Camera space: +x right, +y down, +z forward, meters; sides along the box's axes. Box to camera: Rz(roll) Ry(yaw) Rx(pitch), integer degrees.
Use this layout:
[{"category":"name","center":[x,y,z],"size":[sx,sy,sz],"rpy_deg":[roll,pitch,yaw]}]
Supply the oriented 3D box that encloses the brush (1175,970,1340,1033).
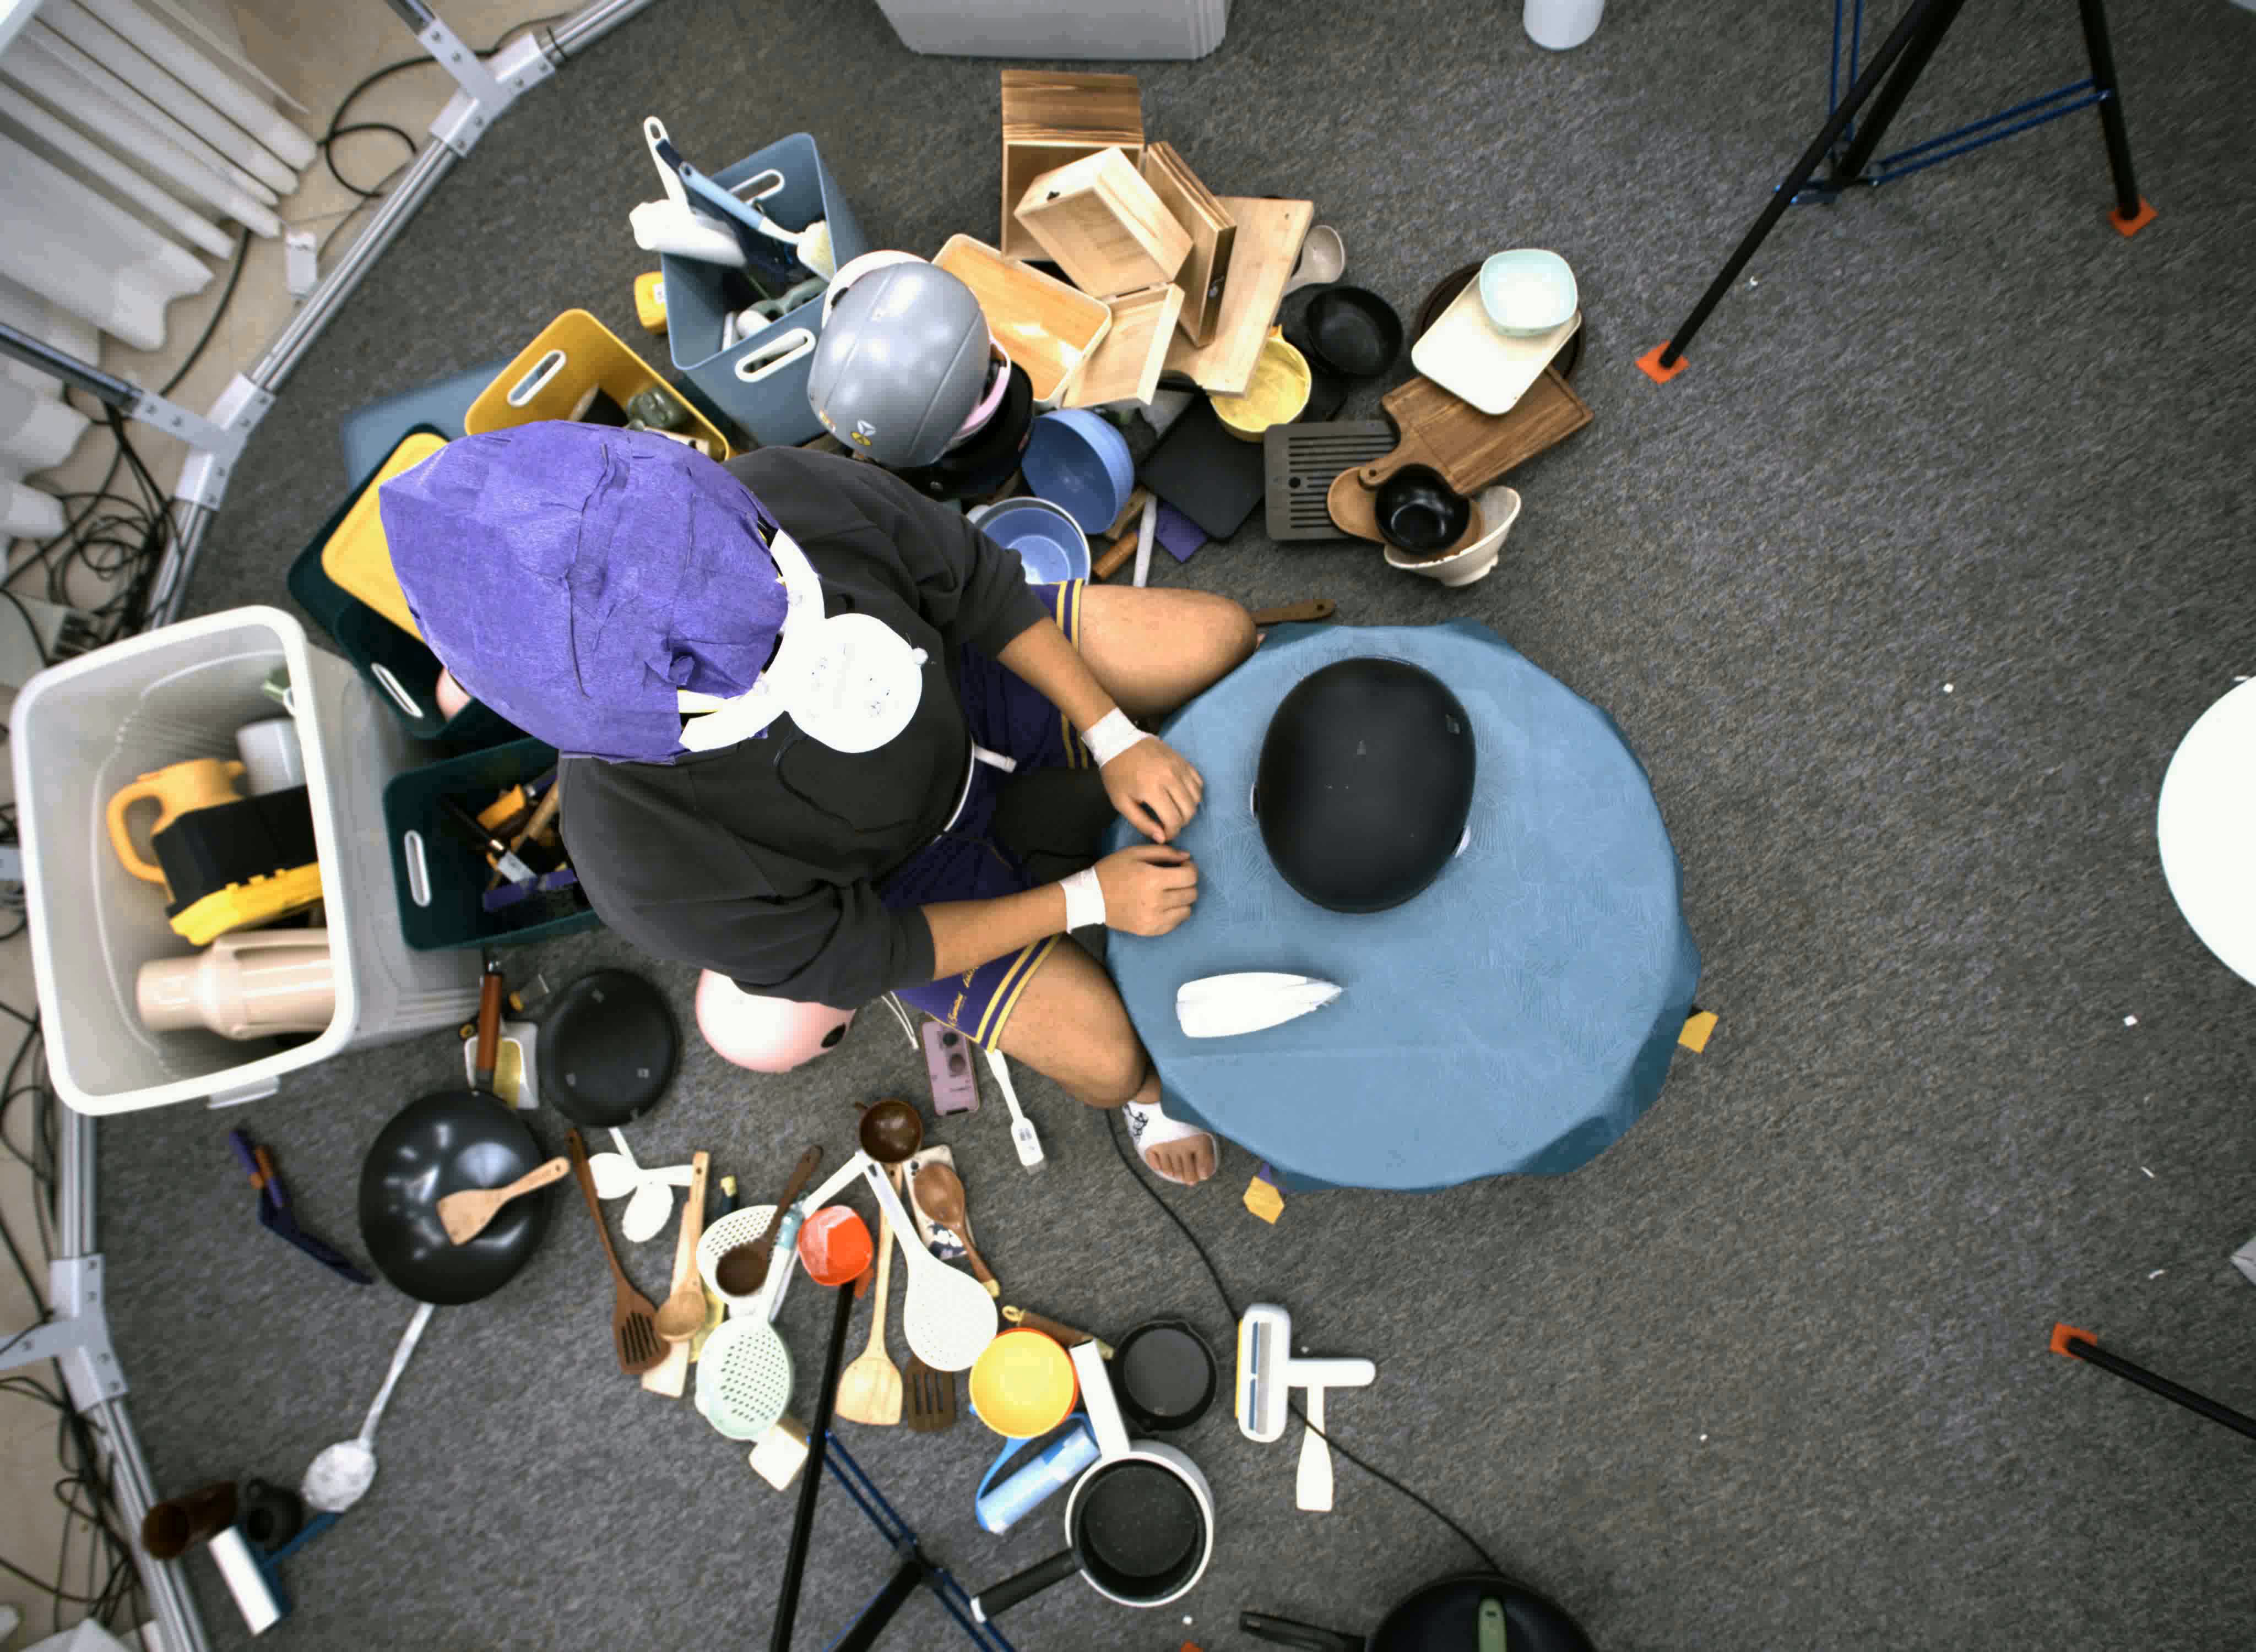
[{"category":"brush","center":[0.133,0.177,1.433],"size":[0.176,0.094,0.061],"rpy_deg":[-8,85,8]}]

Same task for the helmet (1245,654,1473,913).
[{"category":"helmet","center":[0.235,-0.049,1.392],"size":[0.230,0.166,0.273],"rpy_deg":[14,91,11]}]
